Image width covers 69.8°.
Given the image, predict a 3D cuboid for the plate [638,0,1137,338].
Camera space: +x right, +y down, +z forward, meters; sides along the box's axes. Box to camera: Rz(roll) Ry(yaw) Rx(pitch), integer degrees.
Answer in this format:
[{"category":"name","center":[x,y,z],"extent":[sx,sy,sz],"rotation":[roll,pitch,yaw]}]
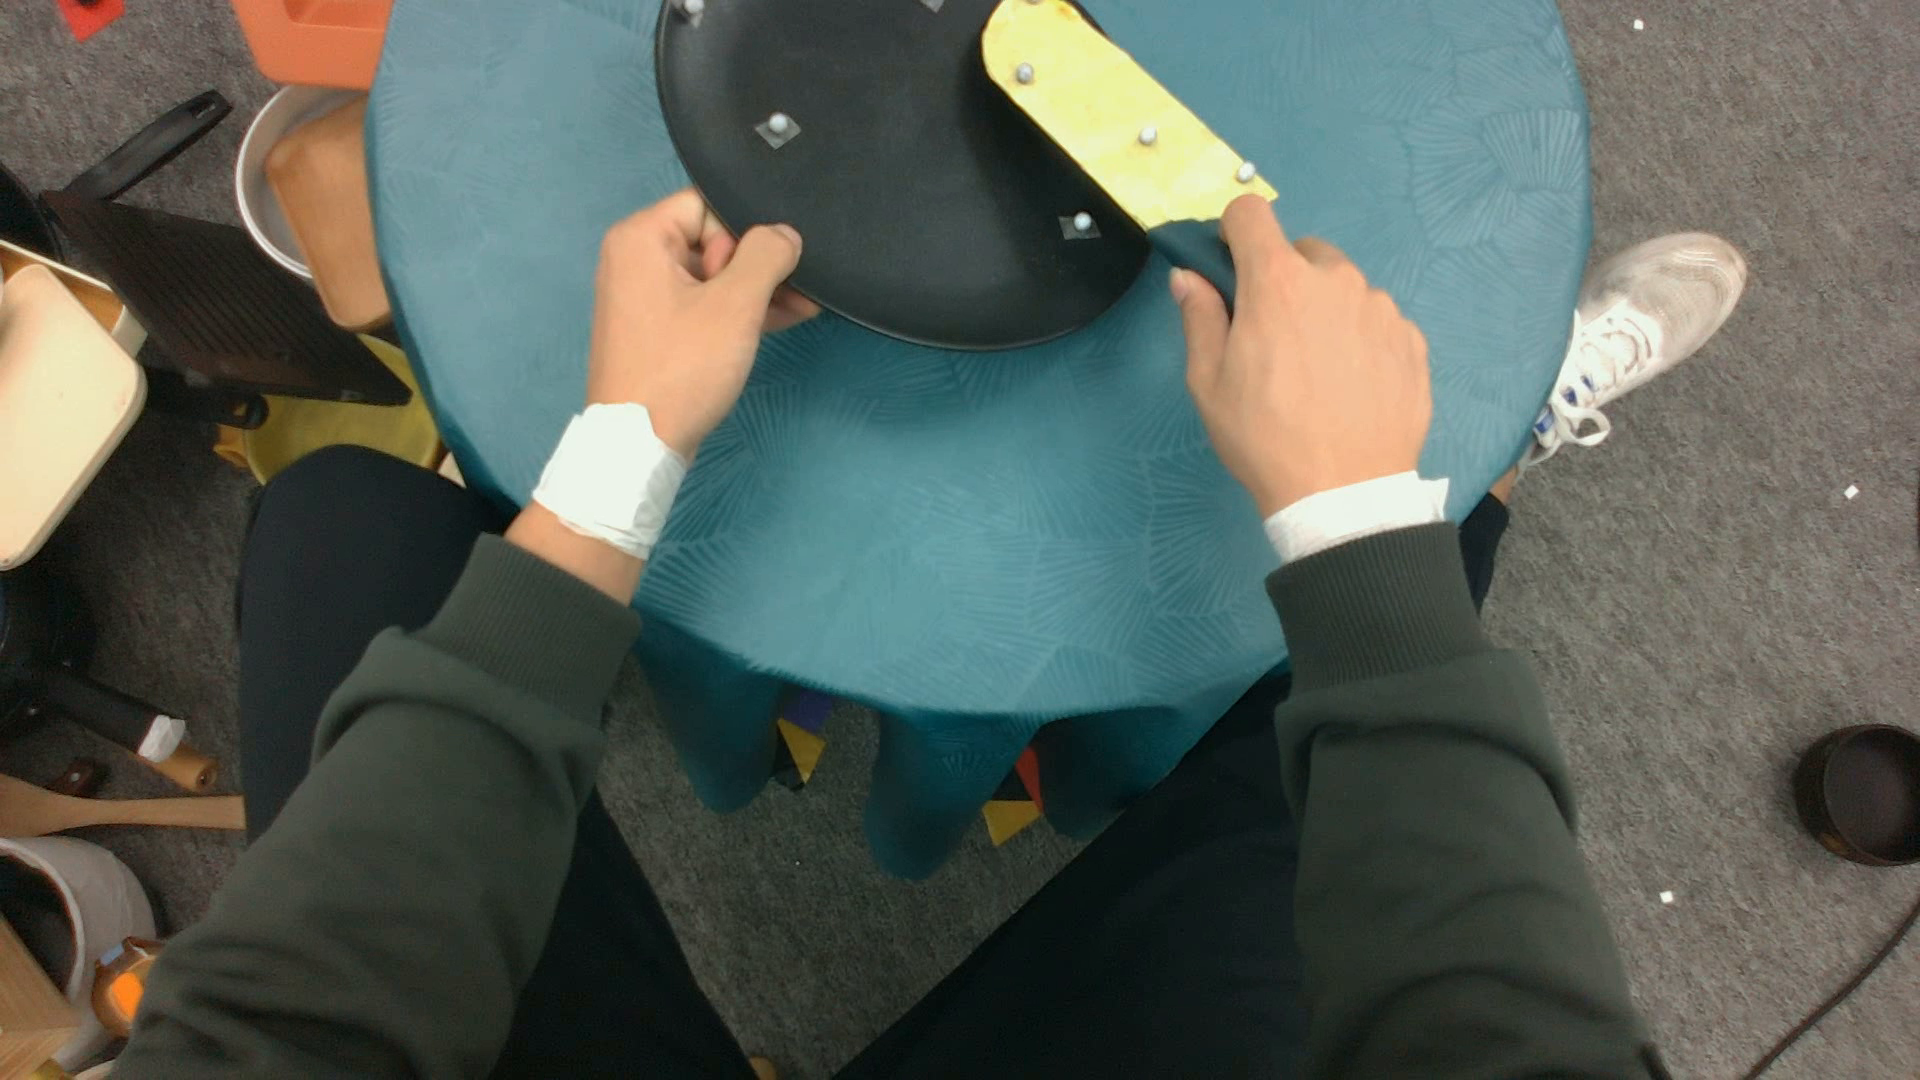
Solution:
[{"category":"plate","center":[-0.027,-0.196,0.631],"extent":[0.245,0.023,0.245],"rotation":[10,64,-21]}]

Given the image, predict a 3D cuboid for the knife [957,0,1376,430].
[{"category":"knife","center":[0.093,-0.161,0.623],"extent":[0.081,0.027,0.290],"rotation":[-28,68,-25]}]
